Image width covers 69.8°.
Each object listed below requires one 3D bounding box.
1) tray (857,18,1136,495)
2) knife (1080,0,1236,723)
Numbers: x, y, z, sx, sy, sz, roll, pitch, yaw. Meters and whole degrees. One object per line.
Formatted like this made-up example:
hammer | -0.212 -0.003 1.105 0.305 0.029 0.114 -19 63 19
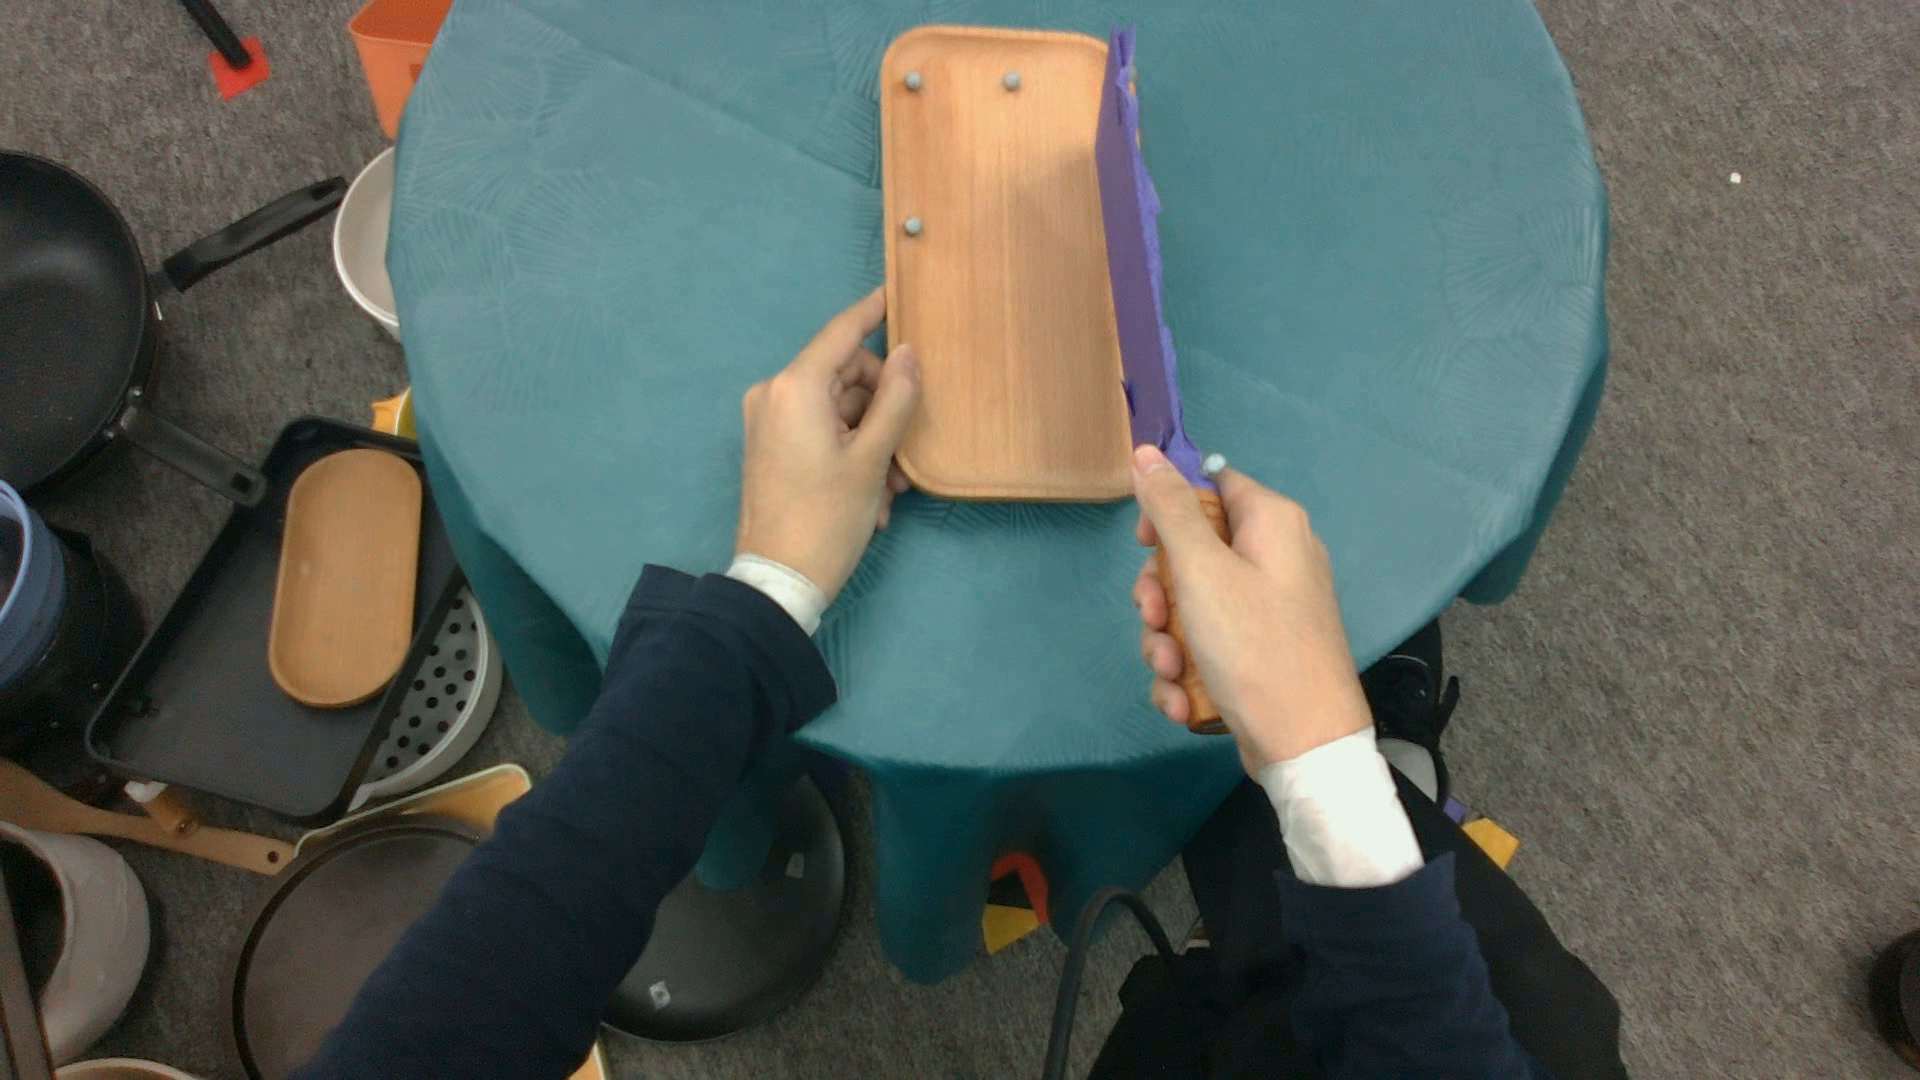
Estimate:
tray | 0.017 -0.139 0.656 0.130 0.023 0.251 2 71 -6
knife | 0.077 -0.072 0.584 0.032 0.103 0.316 -2 69 -2
